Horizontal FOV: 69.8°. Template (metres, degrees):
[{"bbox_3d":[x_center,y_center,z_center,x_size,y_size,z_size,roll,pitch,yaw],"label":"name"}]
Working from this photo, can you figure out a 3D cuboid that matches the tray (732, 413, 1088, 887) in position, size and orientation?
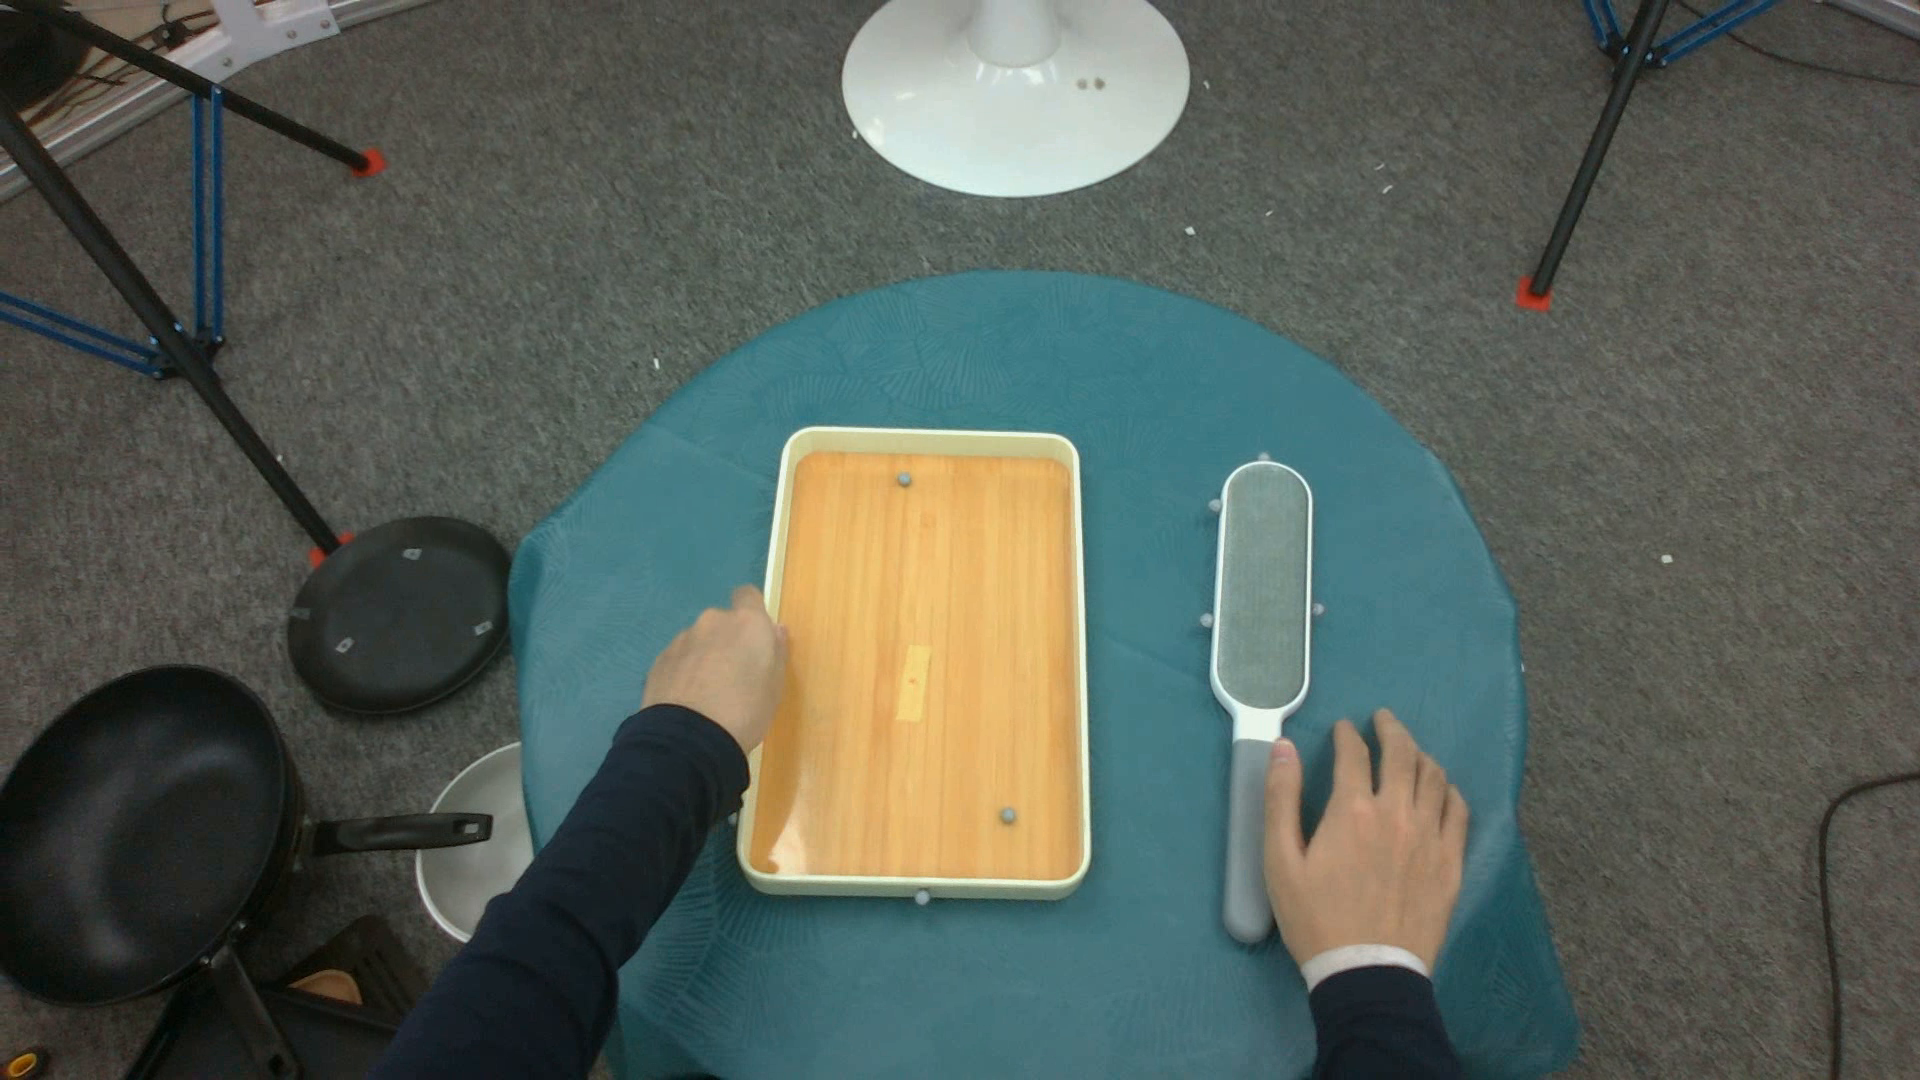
[{"bbox_3d":[-0.025,0.053,0.812,0.191,0.027,0.301,2,58,0],"label":"tray"}]

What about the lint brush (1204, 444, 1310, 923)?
[{"bbox_3d":[0.171,0.070,0.801,0.060,0.021,0.310,10,58,1],"label":"lint brush"}]
